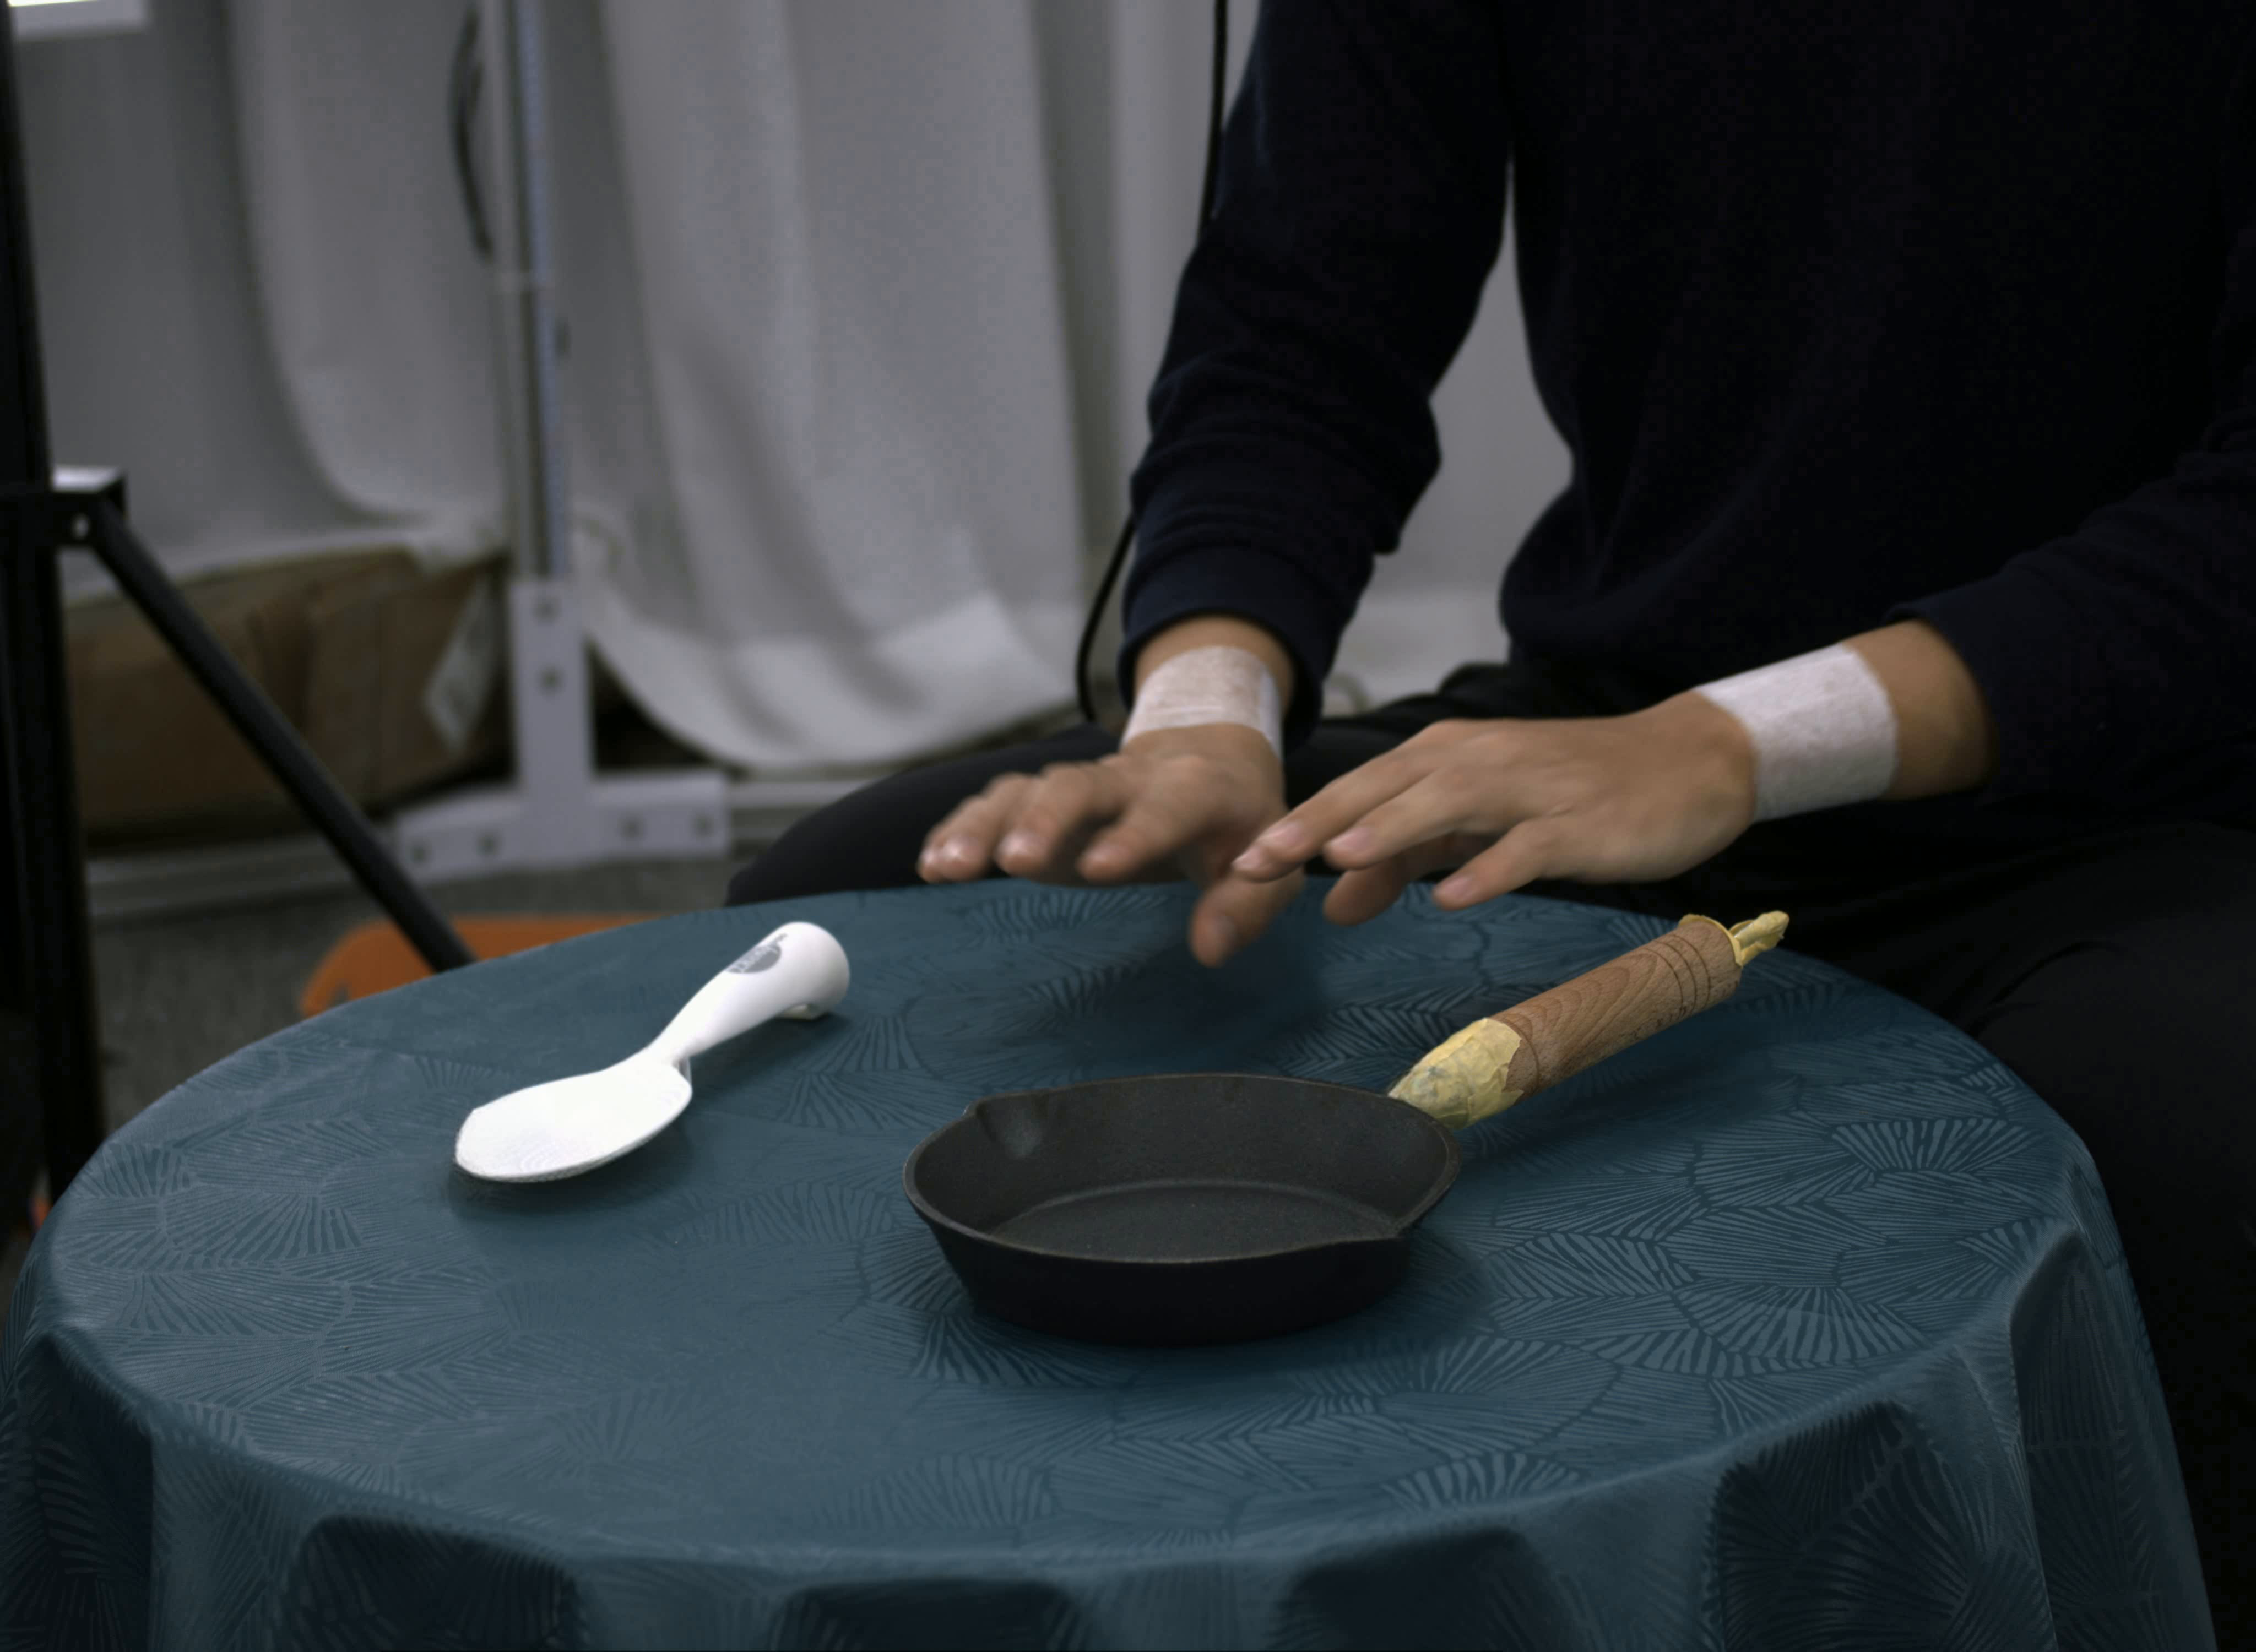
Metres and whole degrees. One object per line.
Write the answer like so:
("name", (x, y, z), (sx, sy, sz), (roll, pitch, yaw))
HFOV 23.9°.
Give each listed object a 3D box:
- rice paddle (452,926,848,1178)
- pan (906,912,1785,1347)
("rice paddle", (-0.144, 0.073, 1.653), (0.070, 0.029, 0.202), (0, 15, 24))
("pan", (0.080, 0.084, 1.537), (0.317, 0.049, 0.173), (-17, 21, -36))
